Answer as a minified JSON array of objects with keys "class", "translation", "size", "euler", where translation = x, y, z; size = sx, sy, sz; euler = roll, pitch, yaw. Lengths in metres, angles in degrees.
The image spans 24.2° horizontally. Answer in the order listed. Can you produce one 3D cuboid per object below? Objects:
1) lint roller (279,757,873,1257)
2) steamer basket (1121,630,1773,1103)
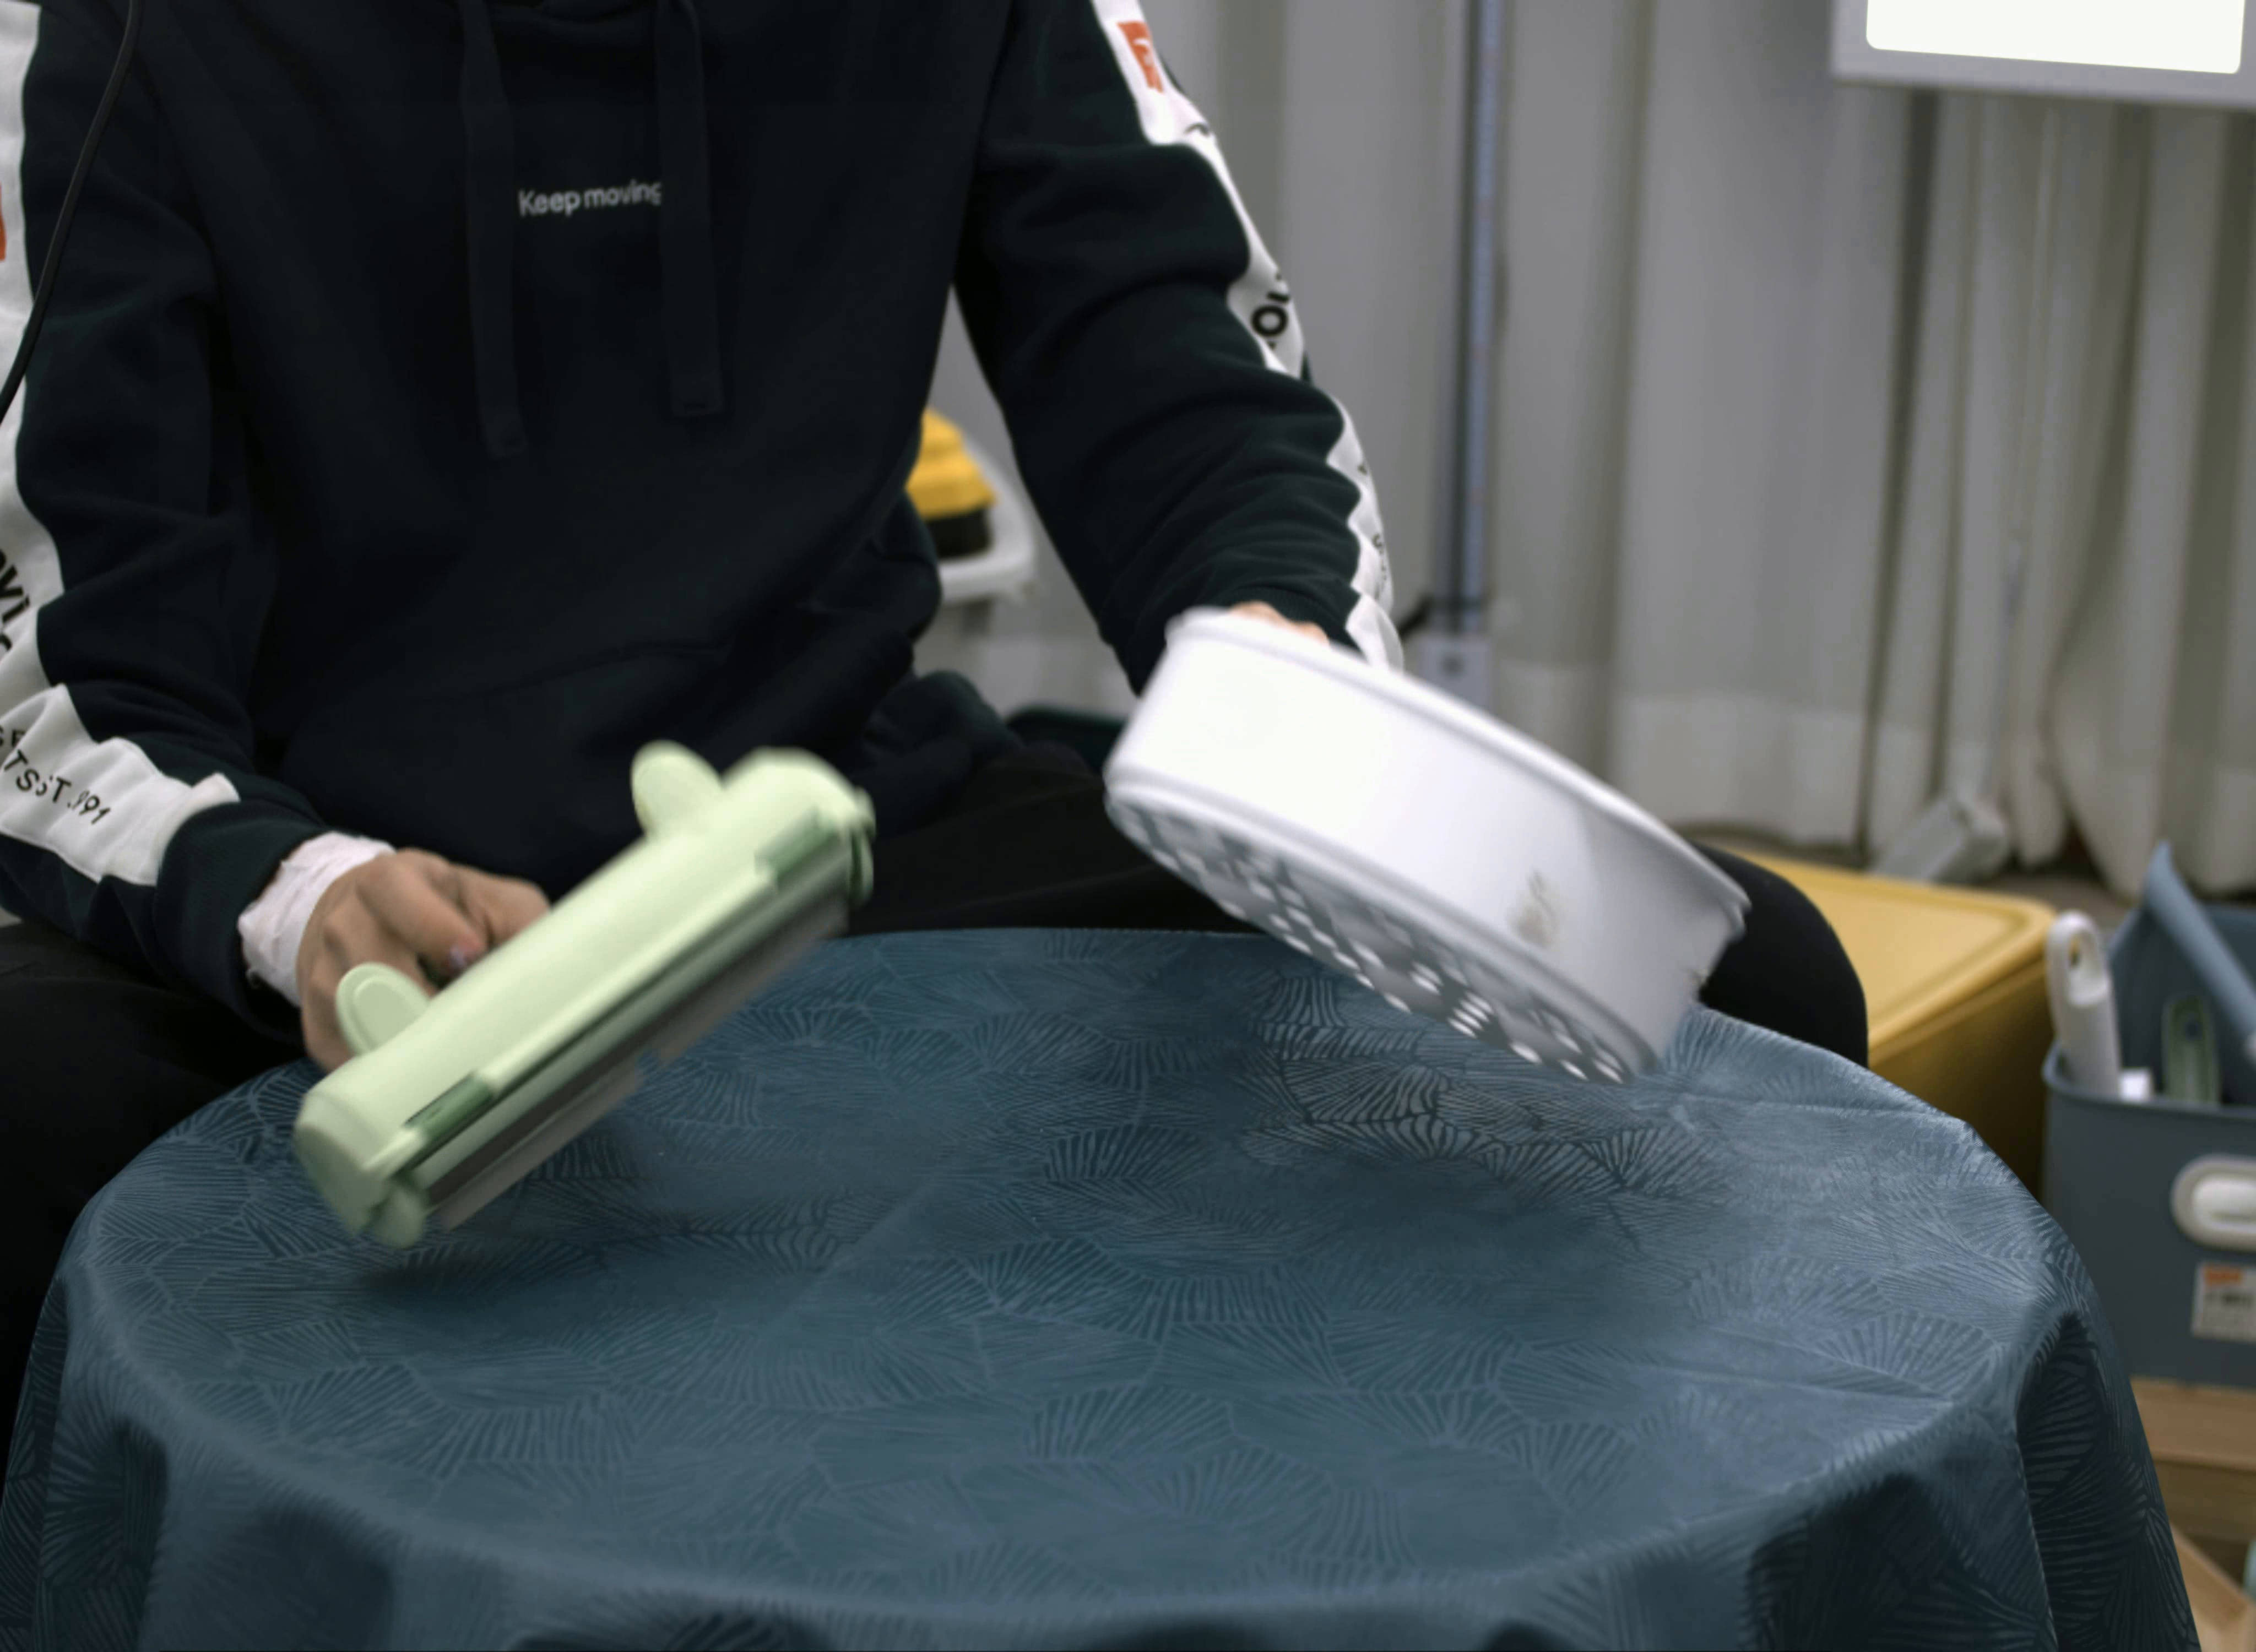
[{"class":"lint roller","translation":[-0.195,0.041,1.599],"size":[0.198,0.083,0.181],"euler":[-36,26,-26]},{"class":"steamer basket","translation":[0.093,0.016,1.621],"size":[0.227,0.069,0.204],"euler":[21,-9,47]}]
